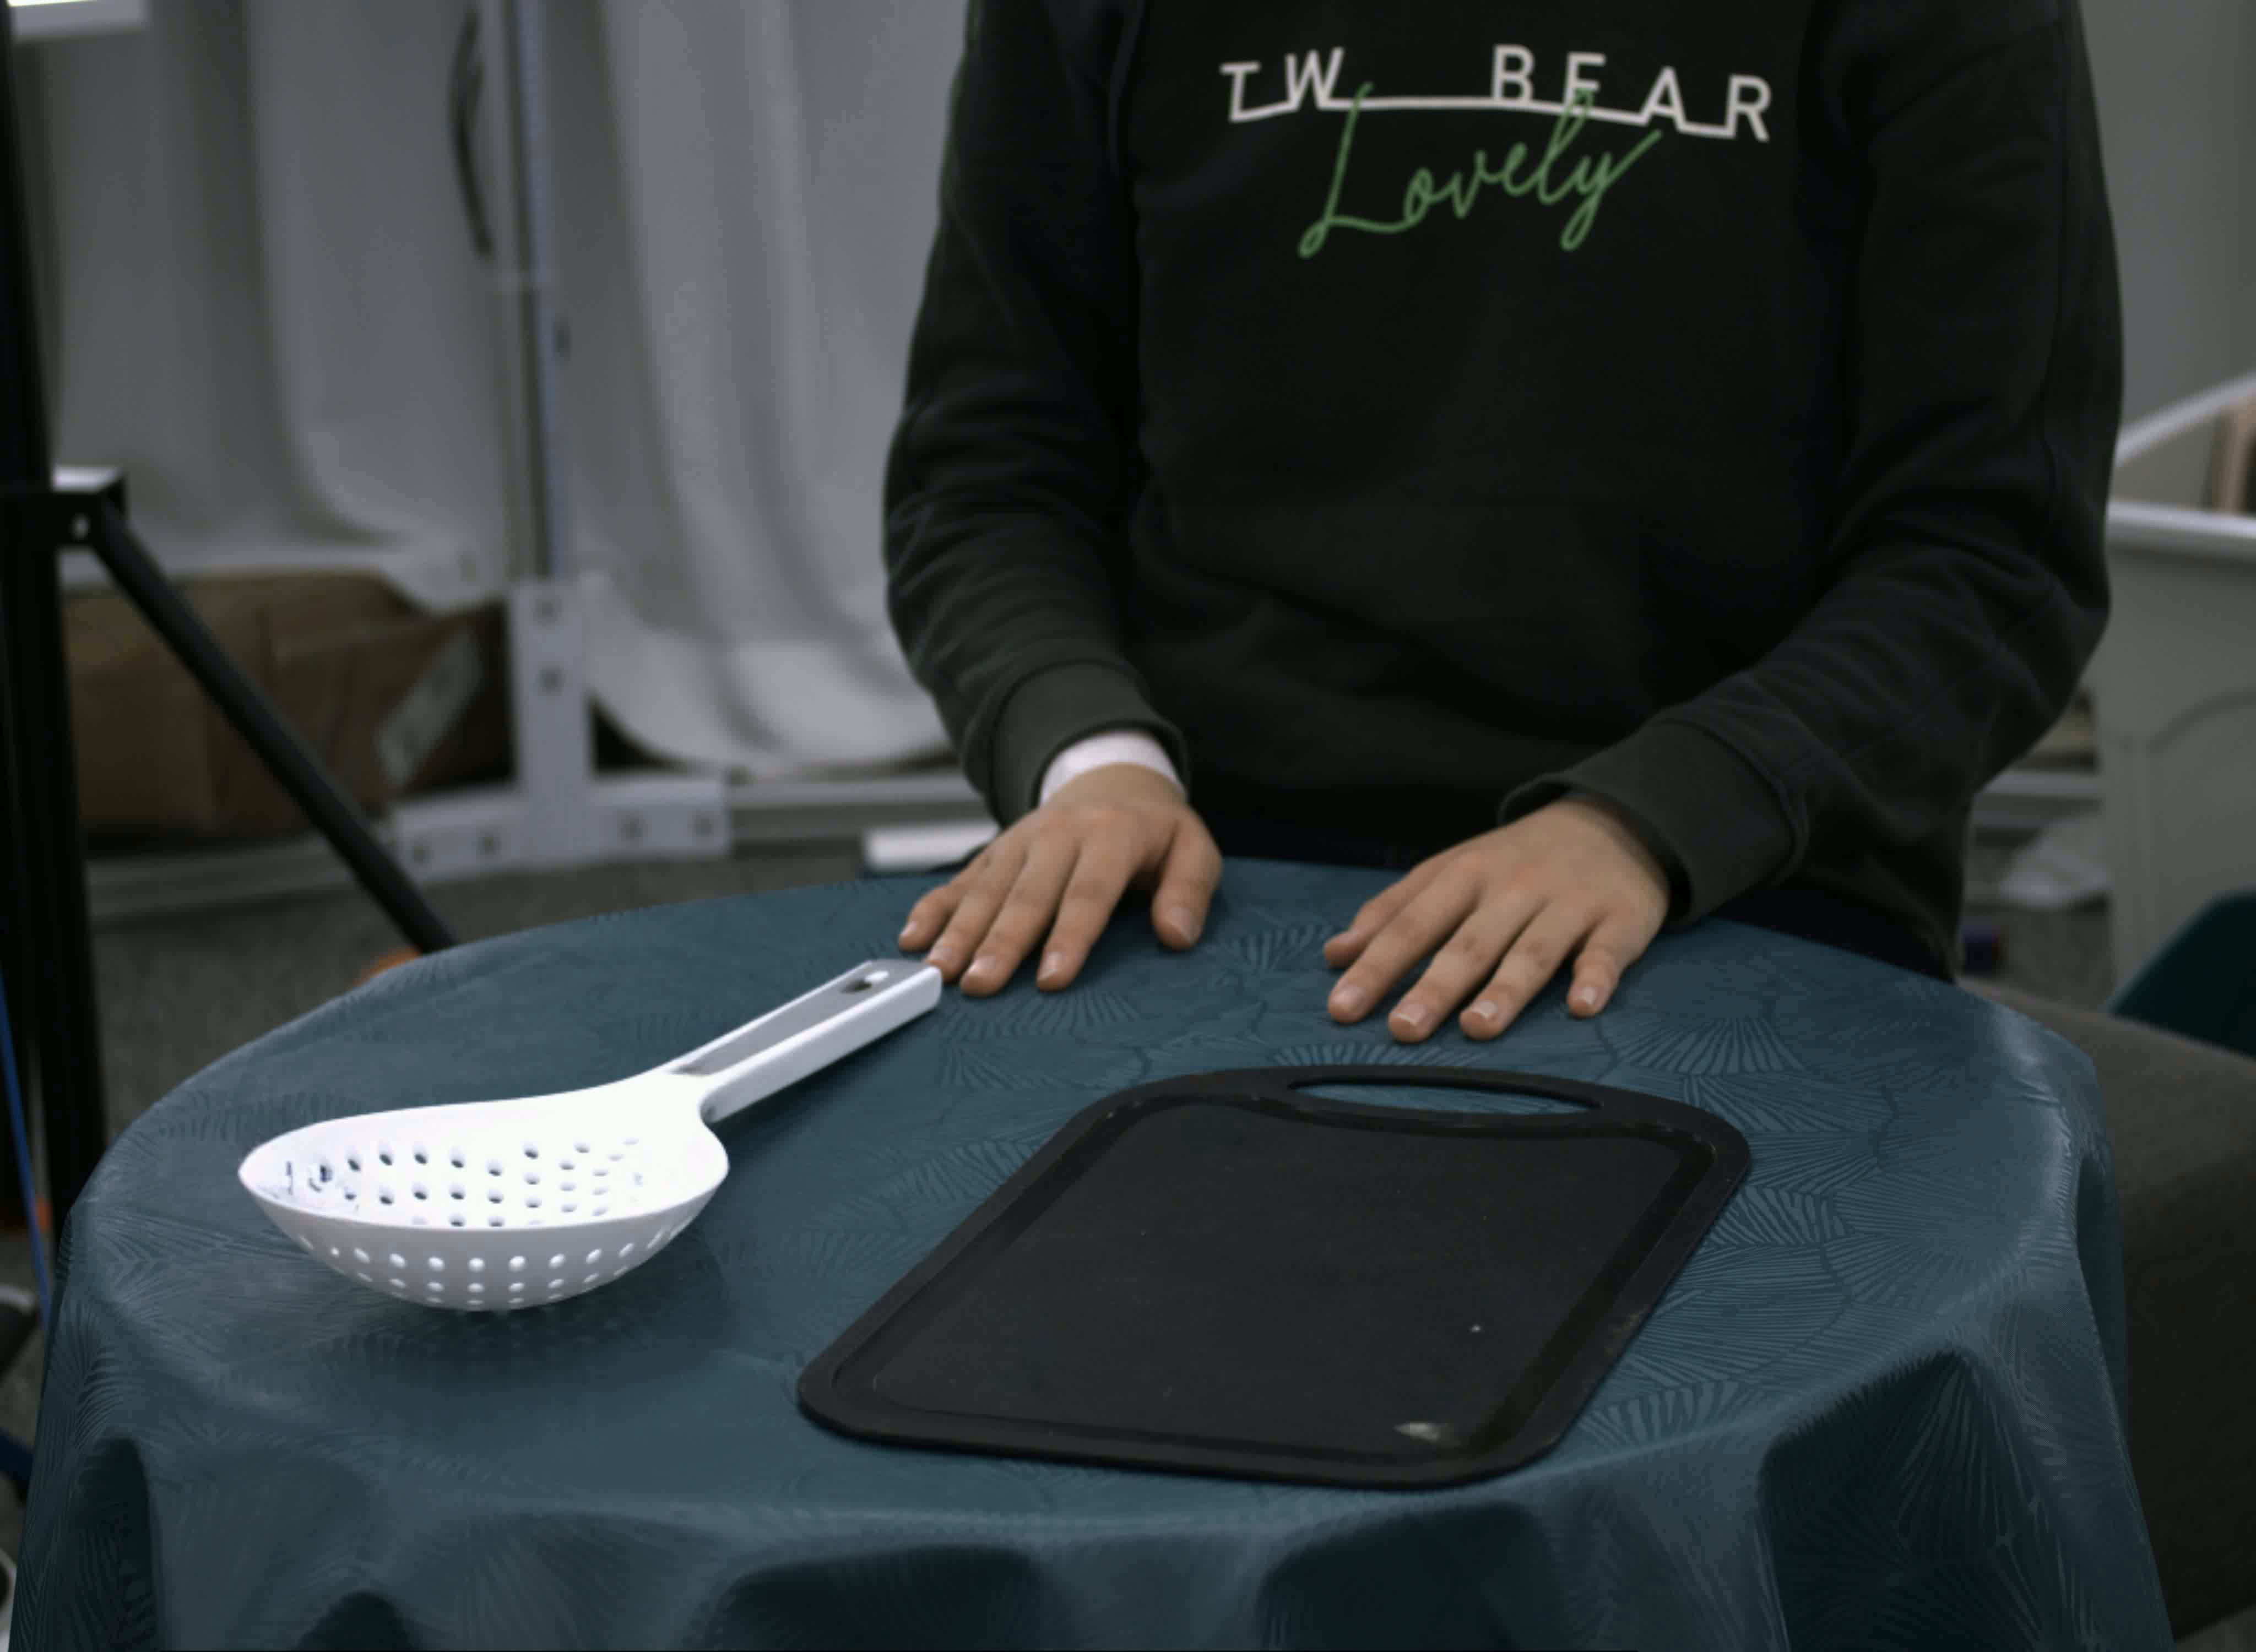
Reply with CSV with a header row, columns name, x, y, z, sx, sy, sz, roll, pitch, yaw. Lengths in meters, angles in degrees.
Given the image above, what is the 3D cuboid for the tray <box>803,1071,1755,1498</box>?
name,x,y,z,sx,sy,sz,roll,pitch,yaw
tray,0.052,0.120,1.495,0.213,0.010,0.321,4,17,20

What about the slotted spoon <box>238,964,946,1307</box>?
name,x,y,z,sx,sy,sz,roll,pitch,yaw
slotted spoon,-0.138,0.082,1.588,0.138,0.046,0.345,6,17,23
